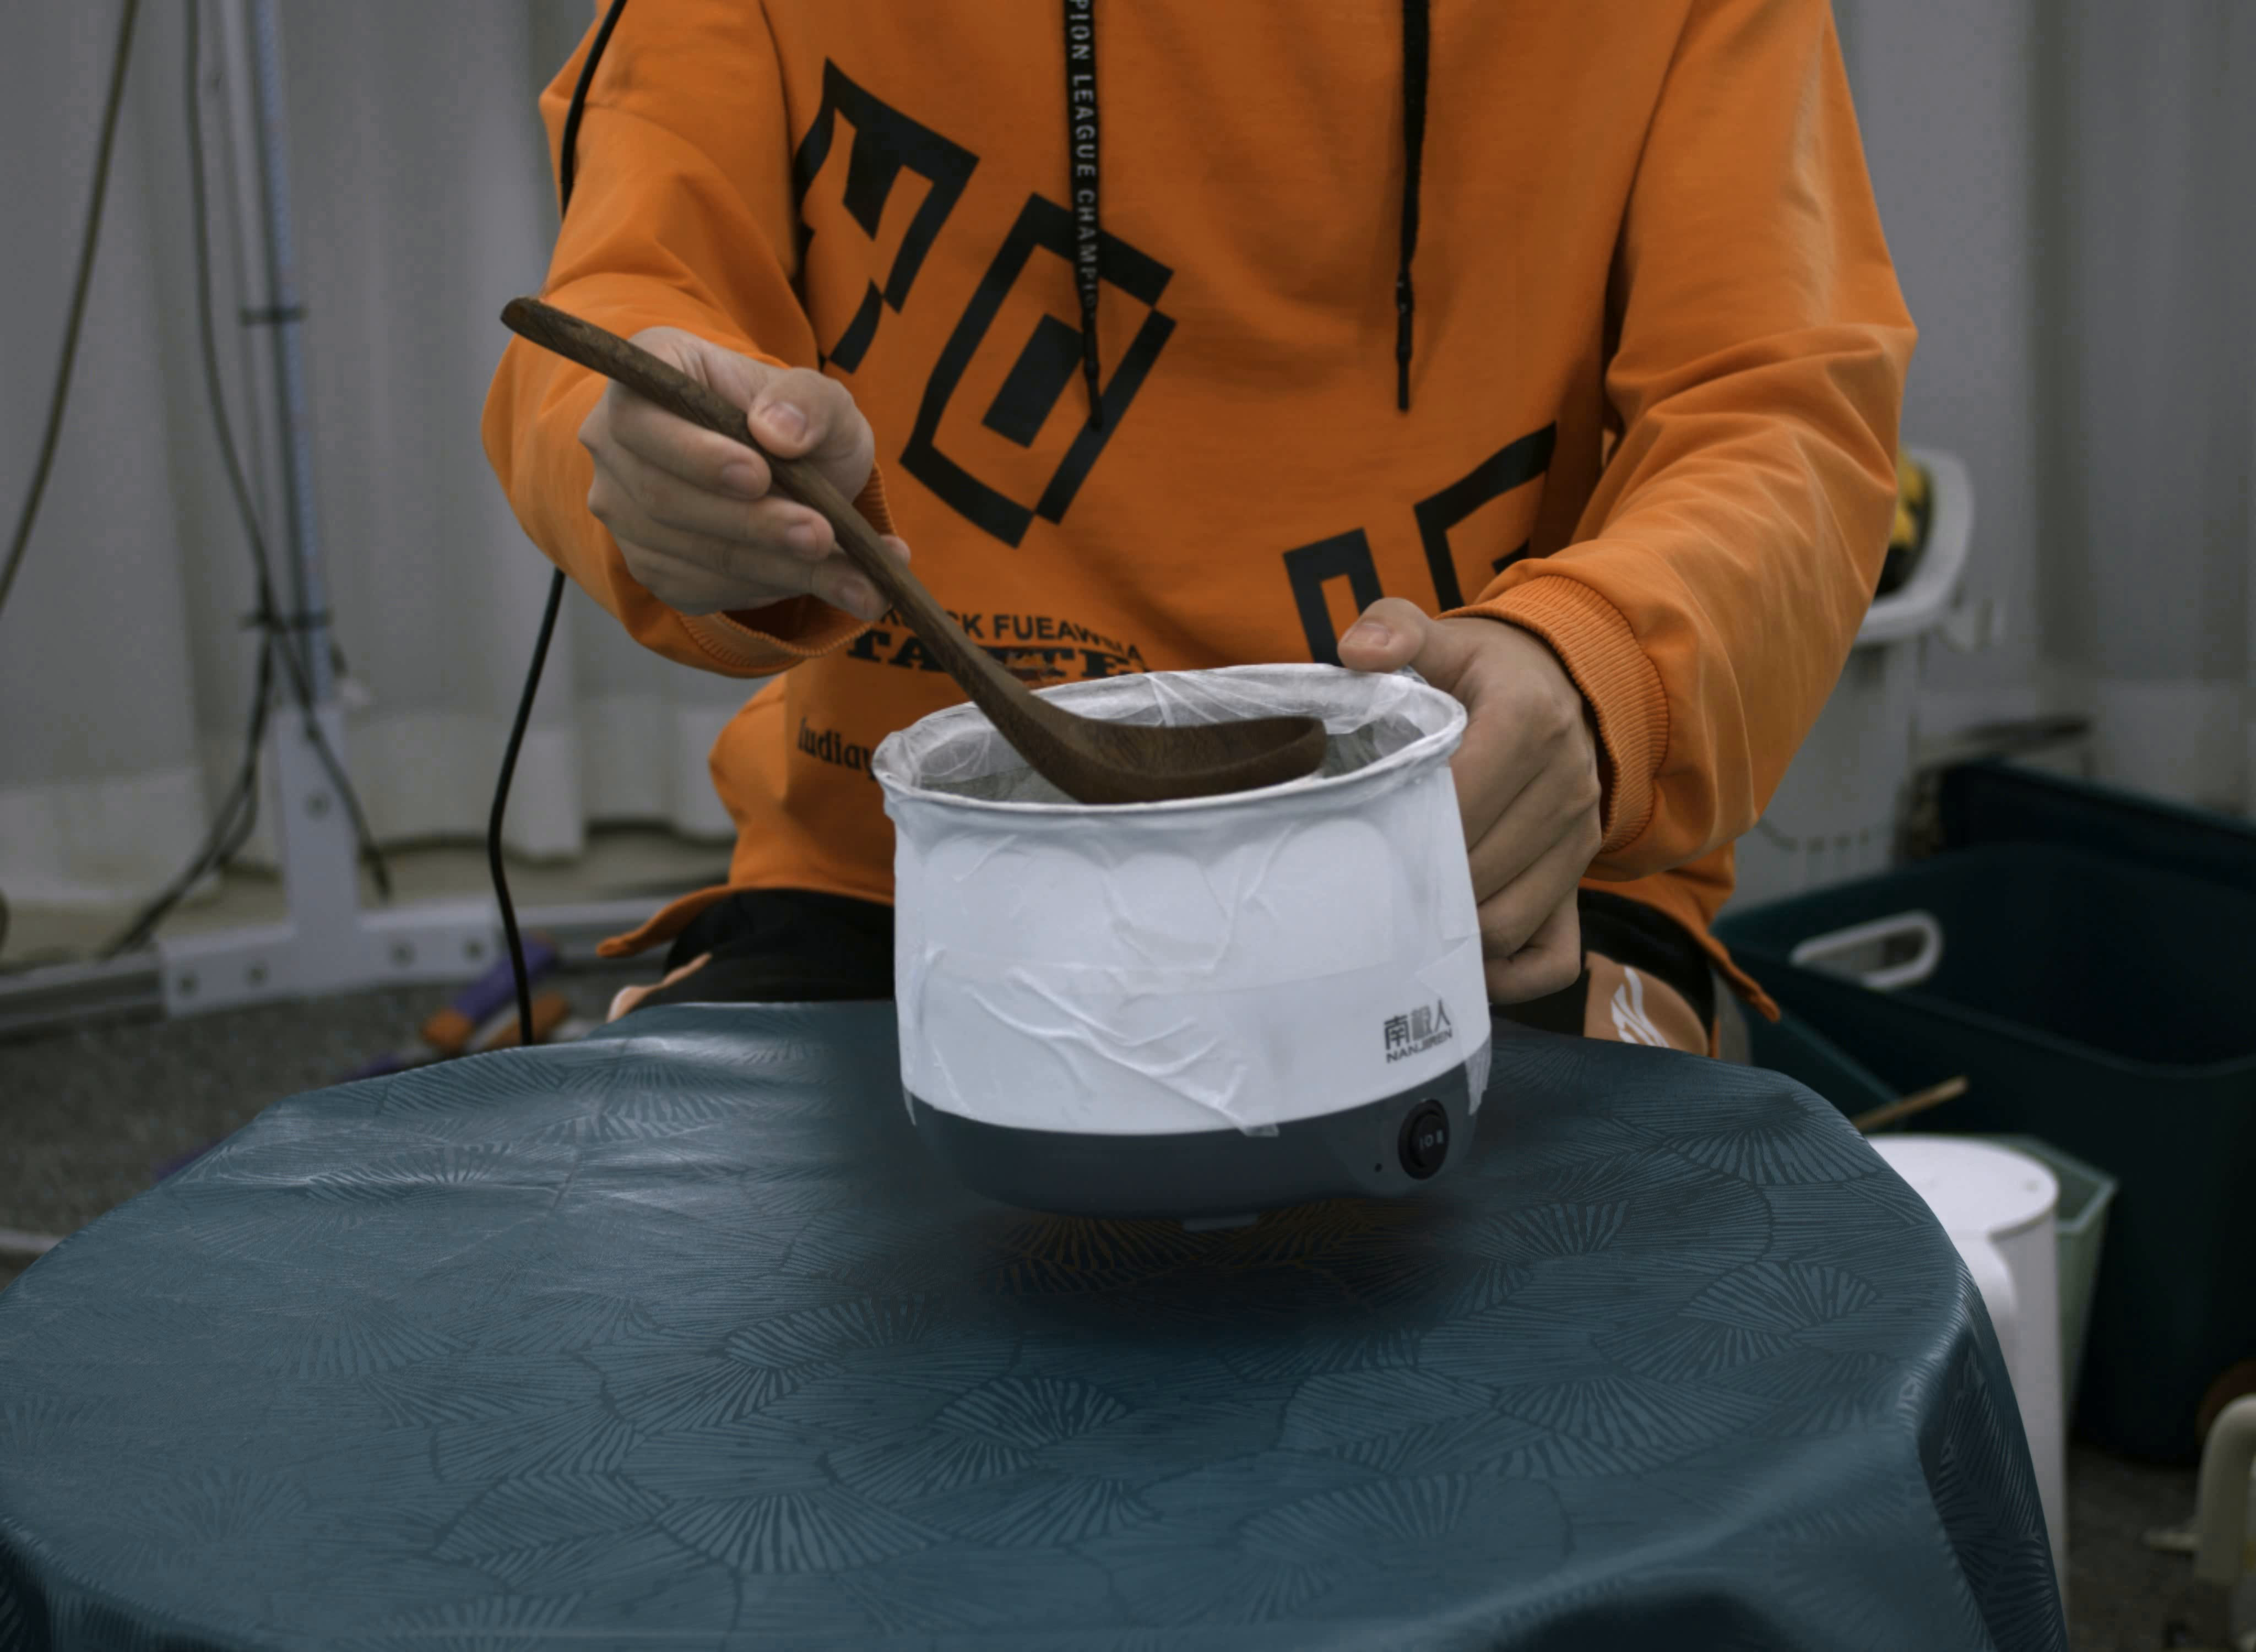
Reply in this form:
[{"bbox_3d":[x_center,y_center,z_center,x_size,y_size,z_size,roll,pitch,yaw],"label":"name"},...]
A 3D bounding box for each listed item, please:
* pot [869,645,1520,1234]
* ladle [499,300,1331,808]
[{"bbox_3d":[0.034,0.027,1.646,0.179,0.136,0.233,7,18,40],"label":"pot"},{"bbox_3d":[-0.060,-0.088,1.615,0.274,0.071,0.076,41,10,-2],"label":"ladle"}]
